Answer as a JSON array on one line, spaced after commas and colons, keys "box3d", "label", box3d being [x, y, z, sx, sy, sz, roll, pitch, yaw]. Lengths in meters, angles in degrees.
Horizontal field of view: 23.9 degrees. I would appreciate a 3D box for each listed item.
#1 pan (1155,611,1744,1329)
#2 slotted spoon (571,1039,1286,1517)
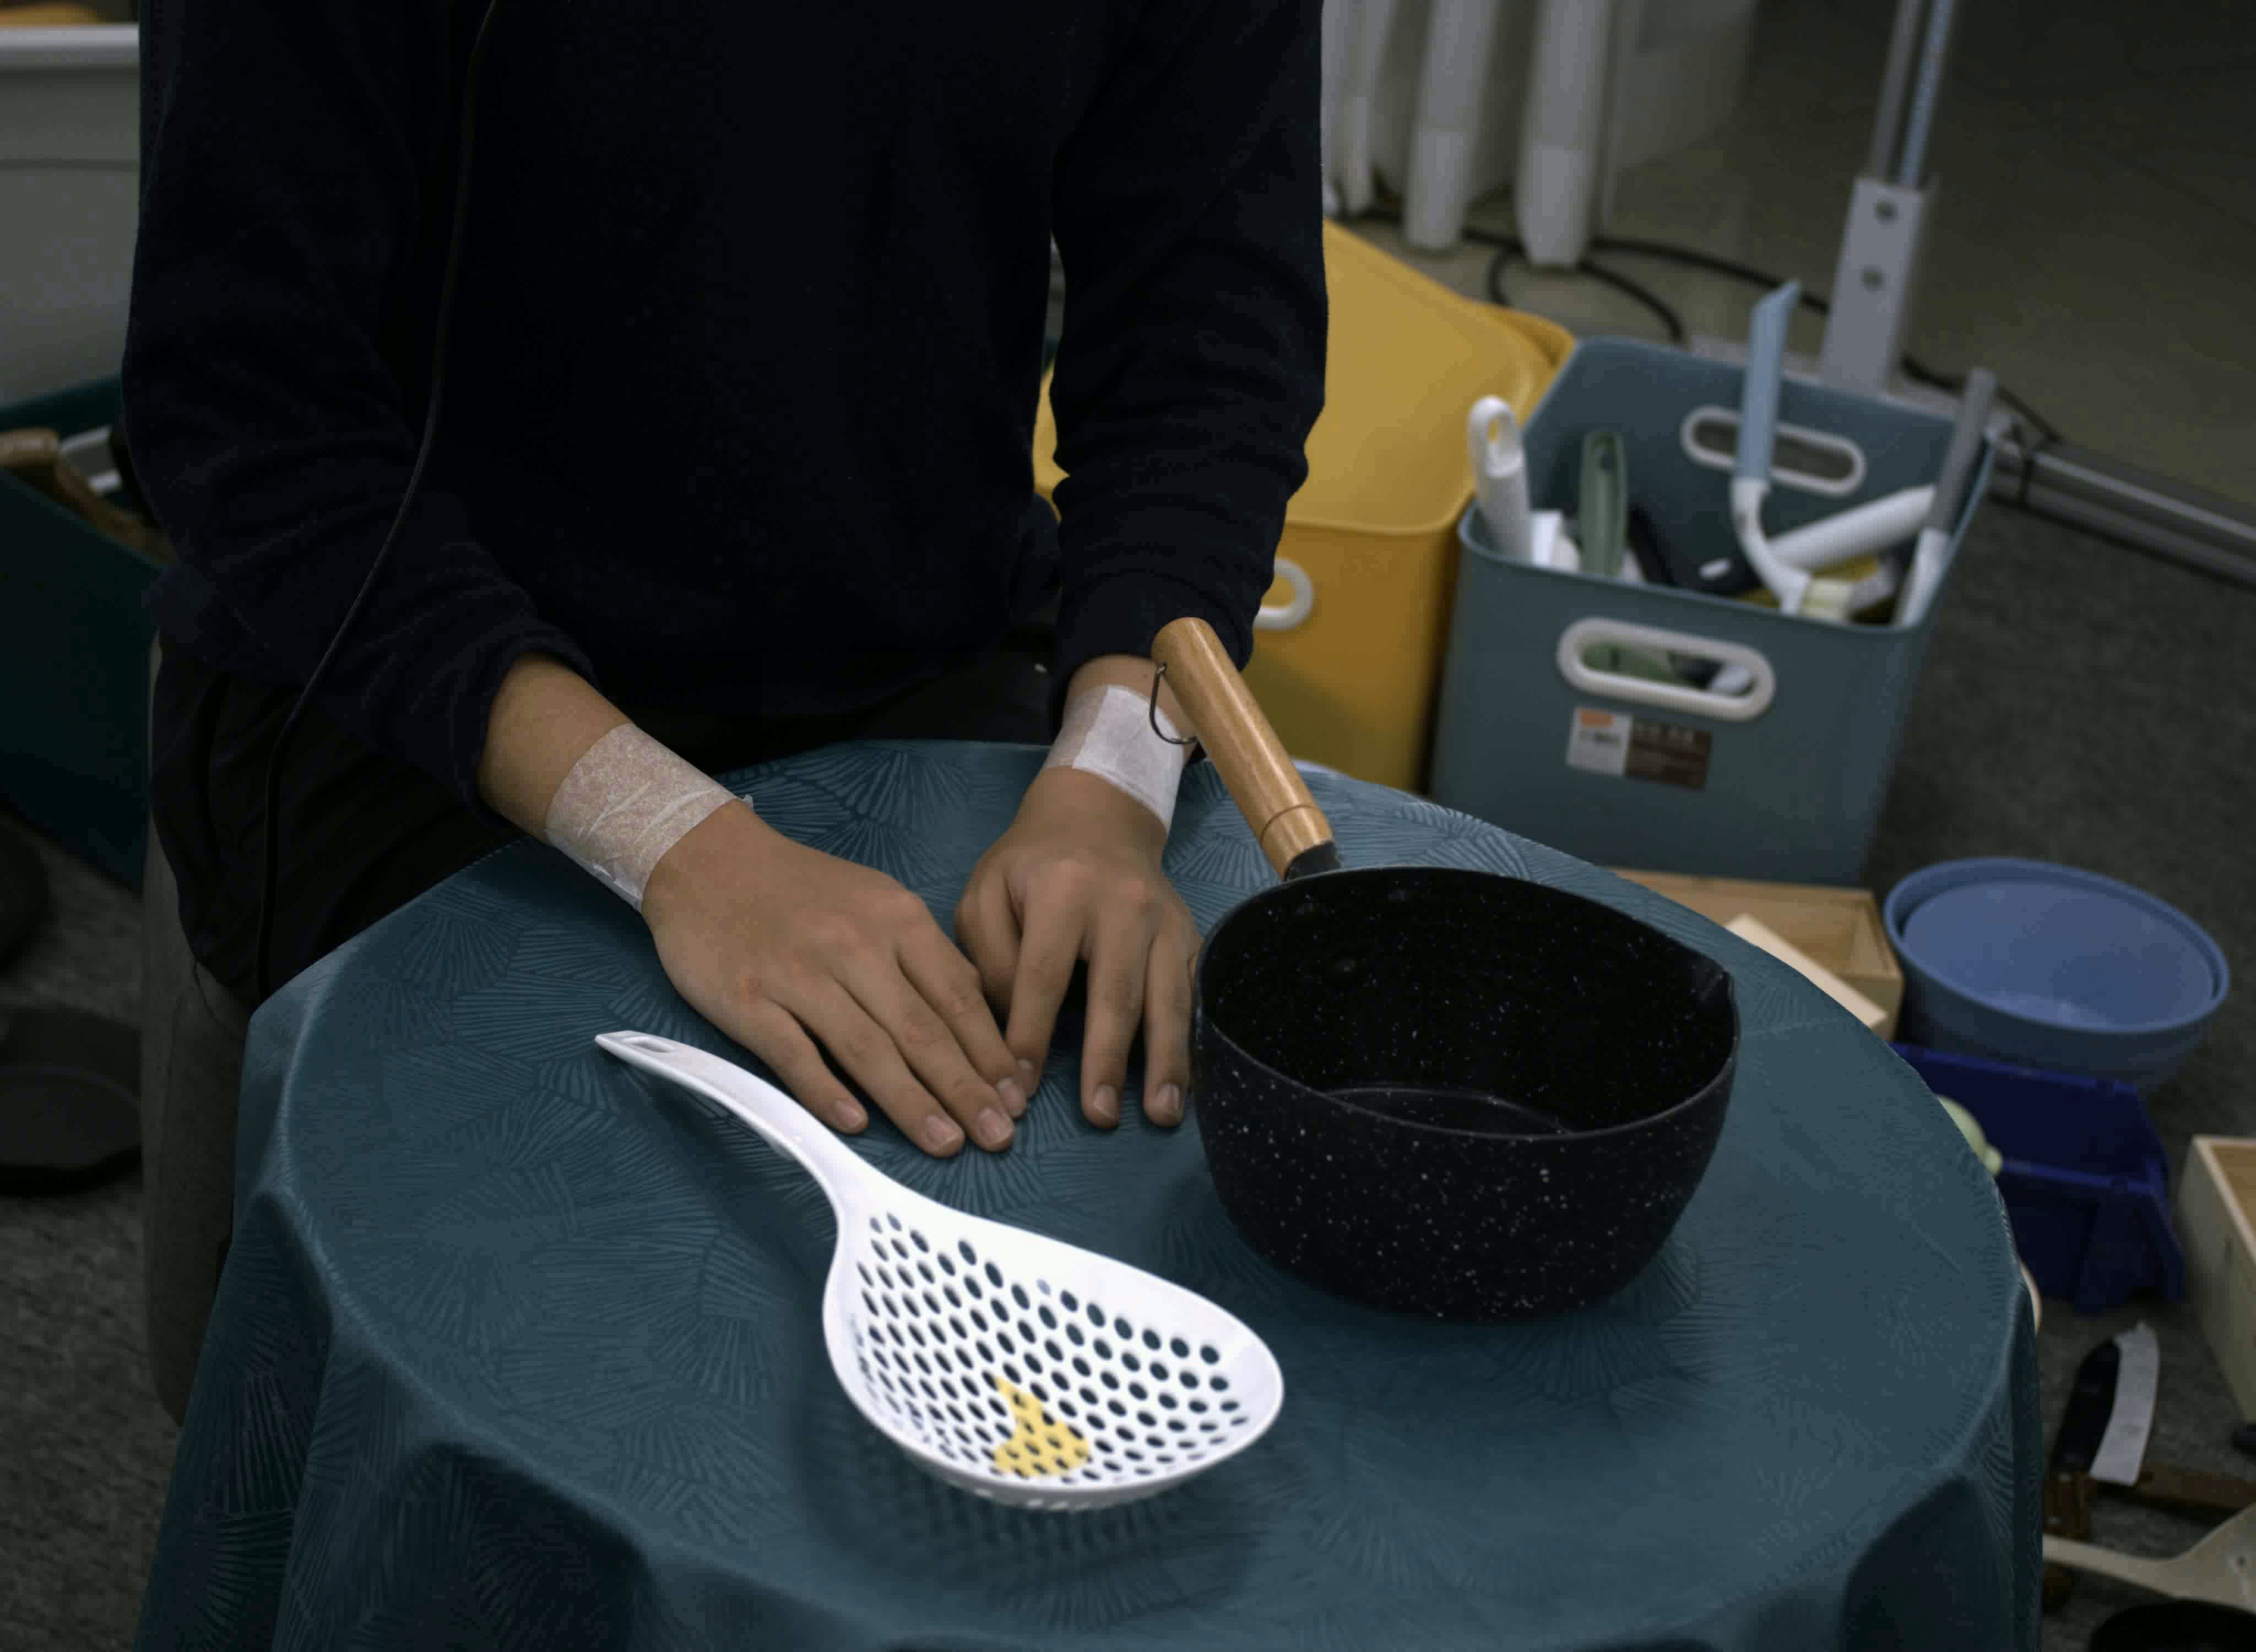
[{"box3d": [0.078, 0.047, 1.852, 0.206, 0.108, 0.346, -7, 31, -23], "label": "pan"}, {"box3d": [-0.083, 0.133, 1.718, 0.136, 0.050, 0.351, -14, 35, -31], "label": "slotted spoon"}]
